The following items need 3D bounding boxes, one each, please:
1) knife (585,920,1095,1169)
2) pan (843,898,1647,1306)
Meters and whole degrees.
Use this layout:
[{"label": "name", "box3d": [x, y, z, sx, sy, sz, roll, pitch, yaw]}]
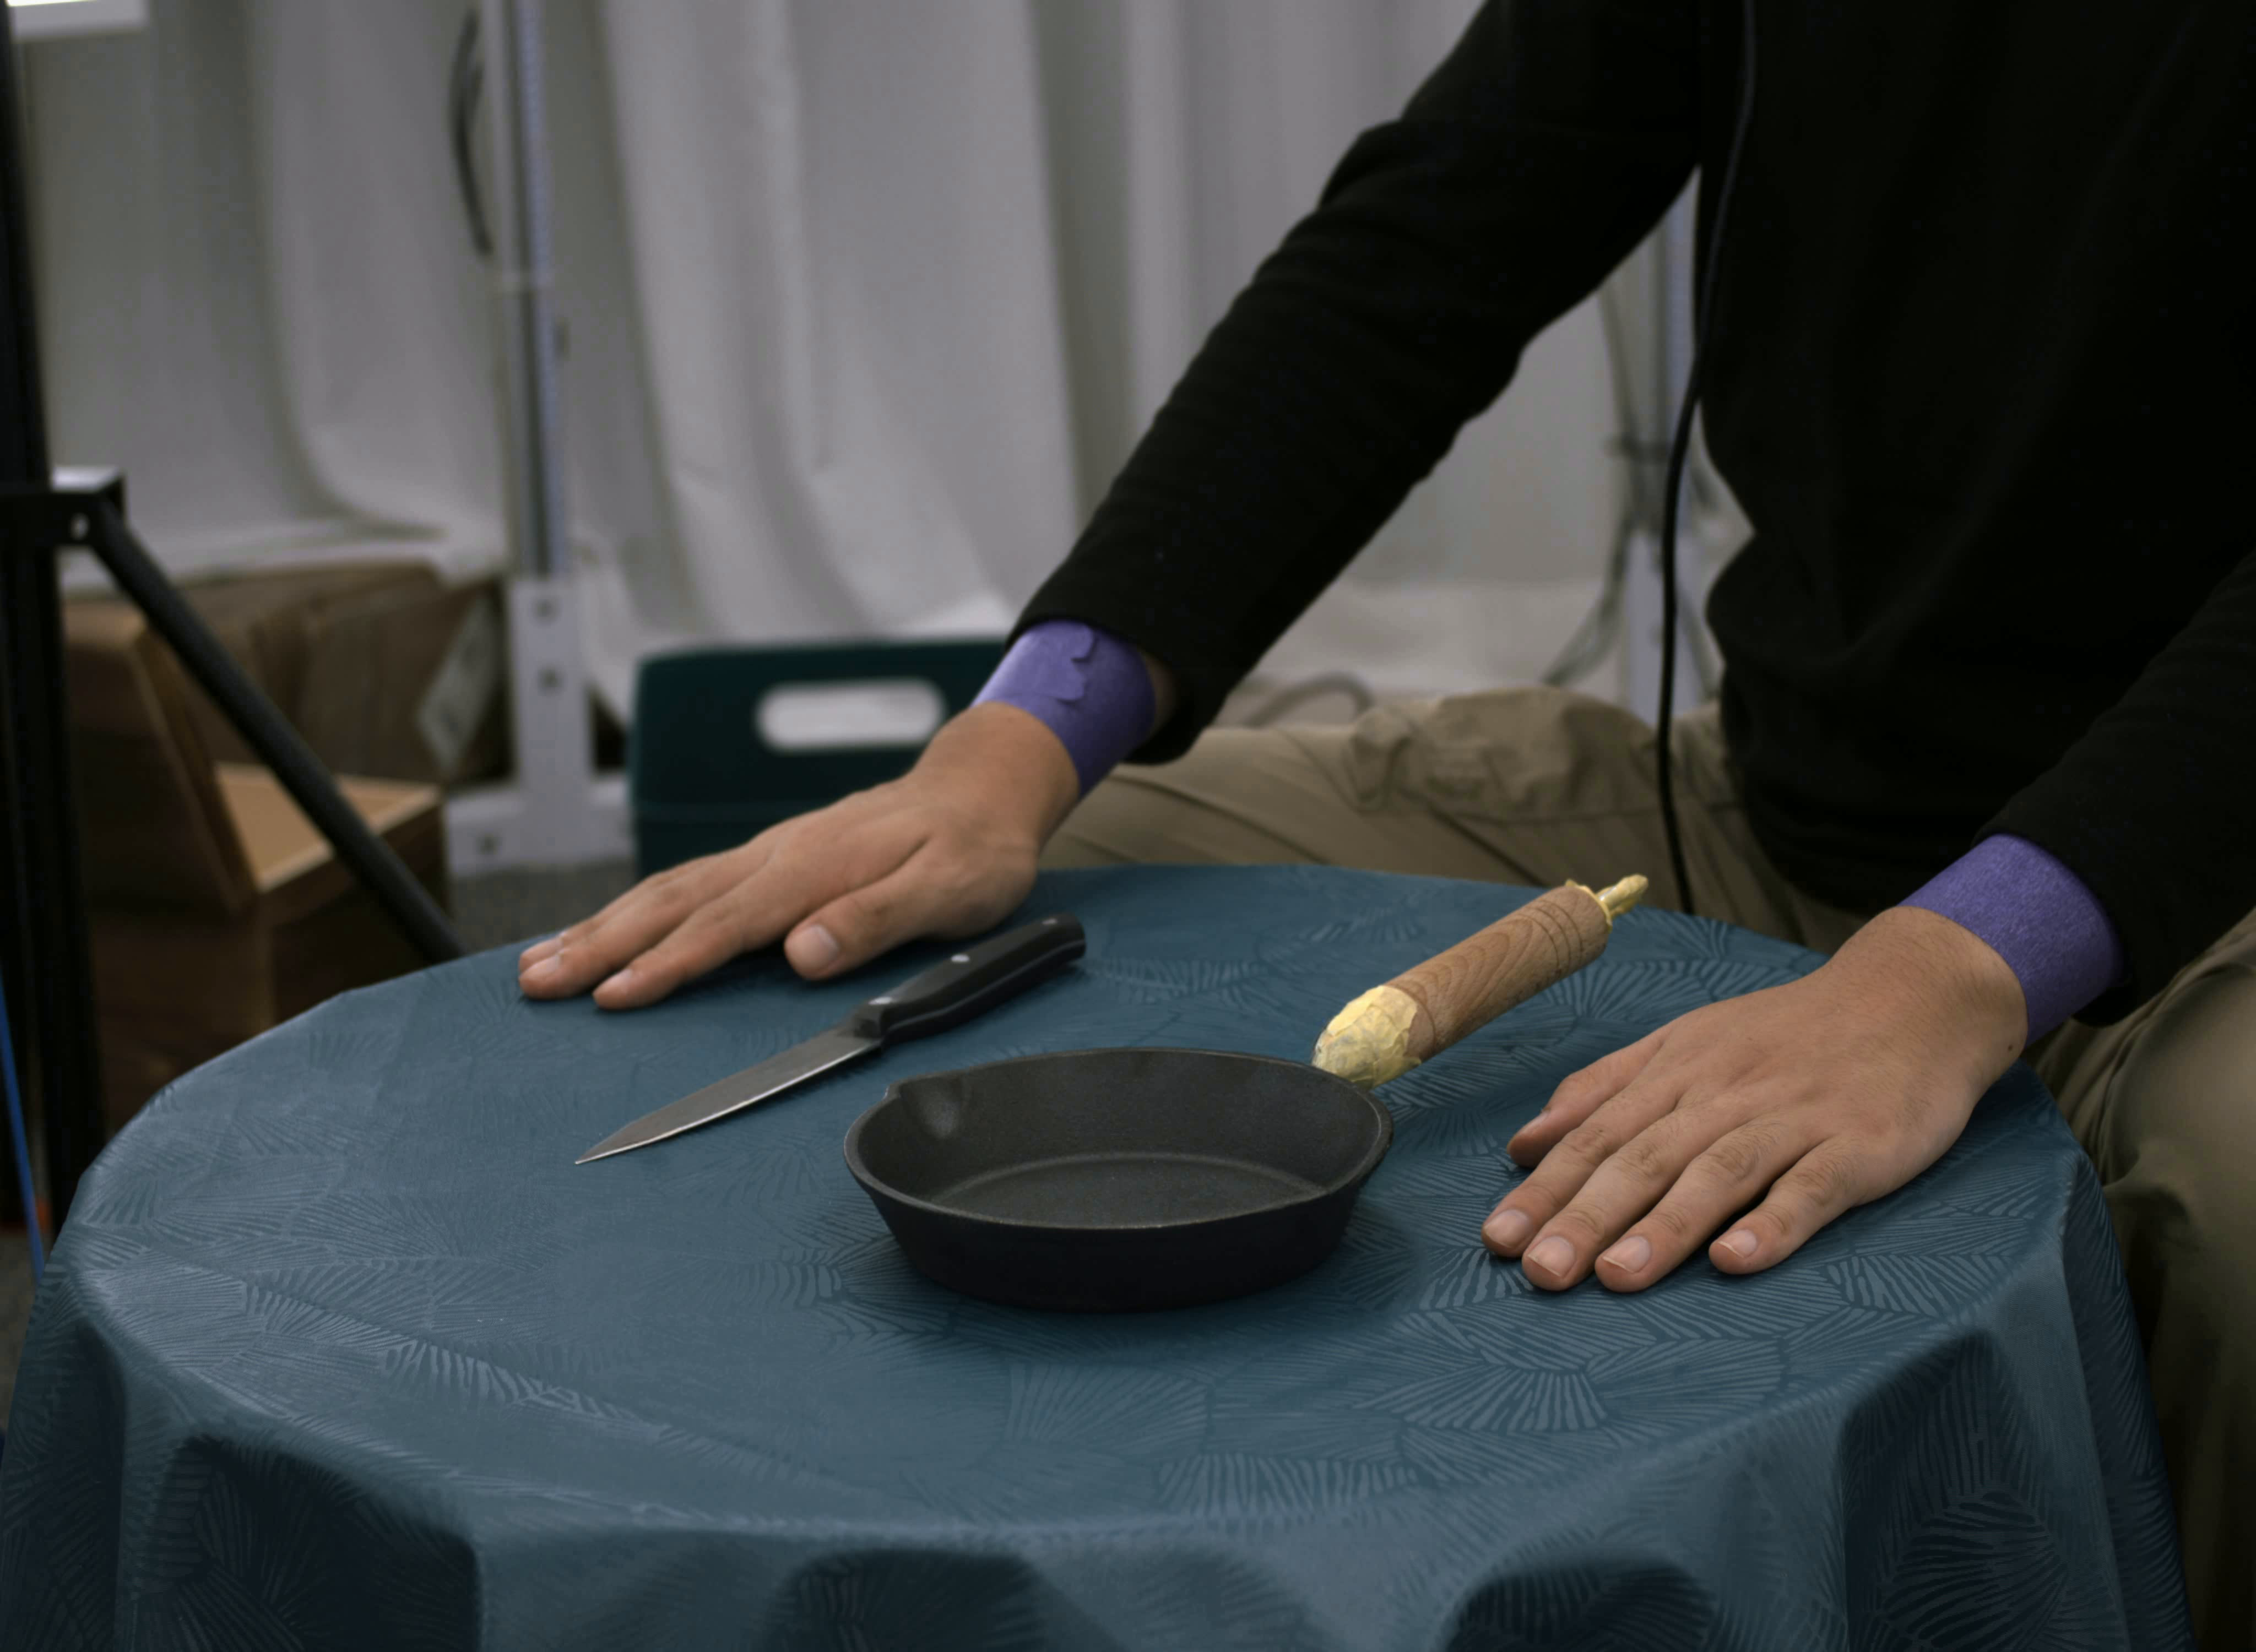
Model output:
[{"label": "knife", "box3d": [-0.091, 0.069, 1.687, 0.025, 0.016, 0.233, 11, 23, 38]}, {"label": "pan", "box3d": [0.054, 0.078, 1.570, 0.173, 0.049, 0.317, 13, 21, 42]}]
